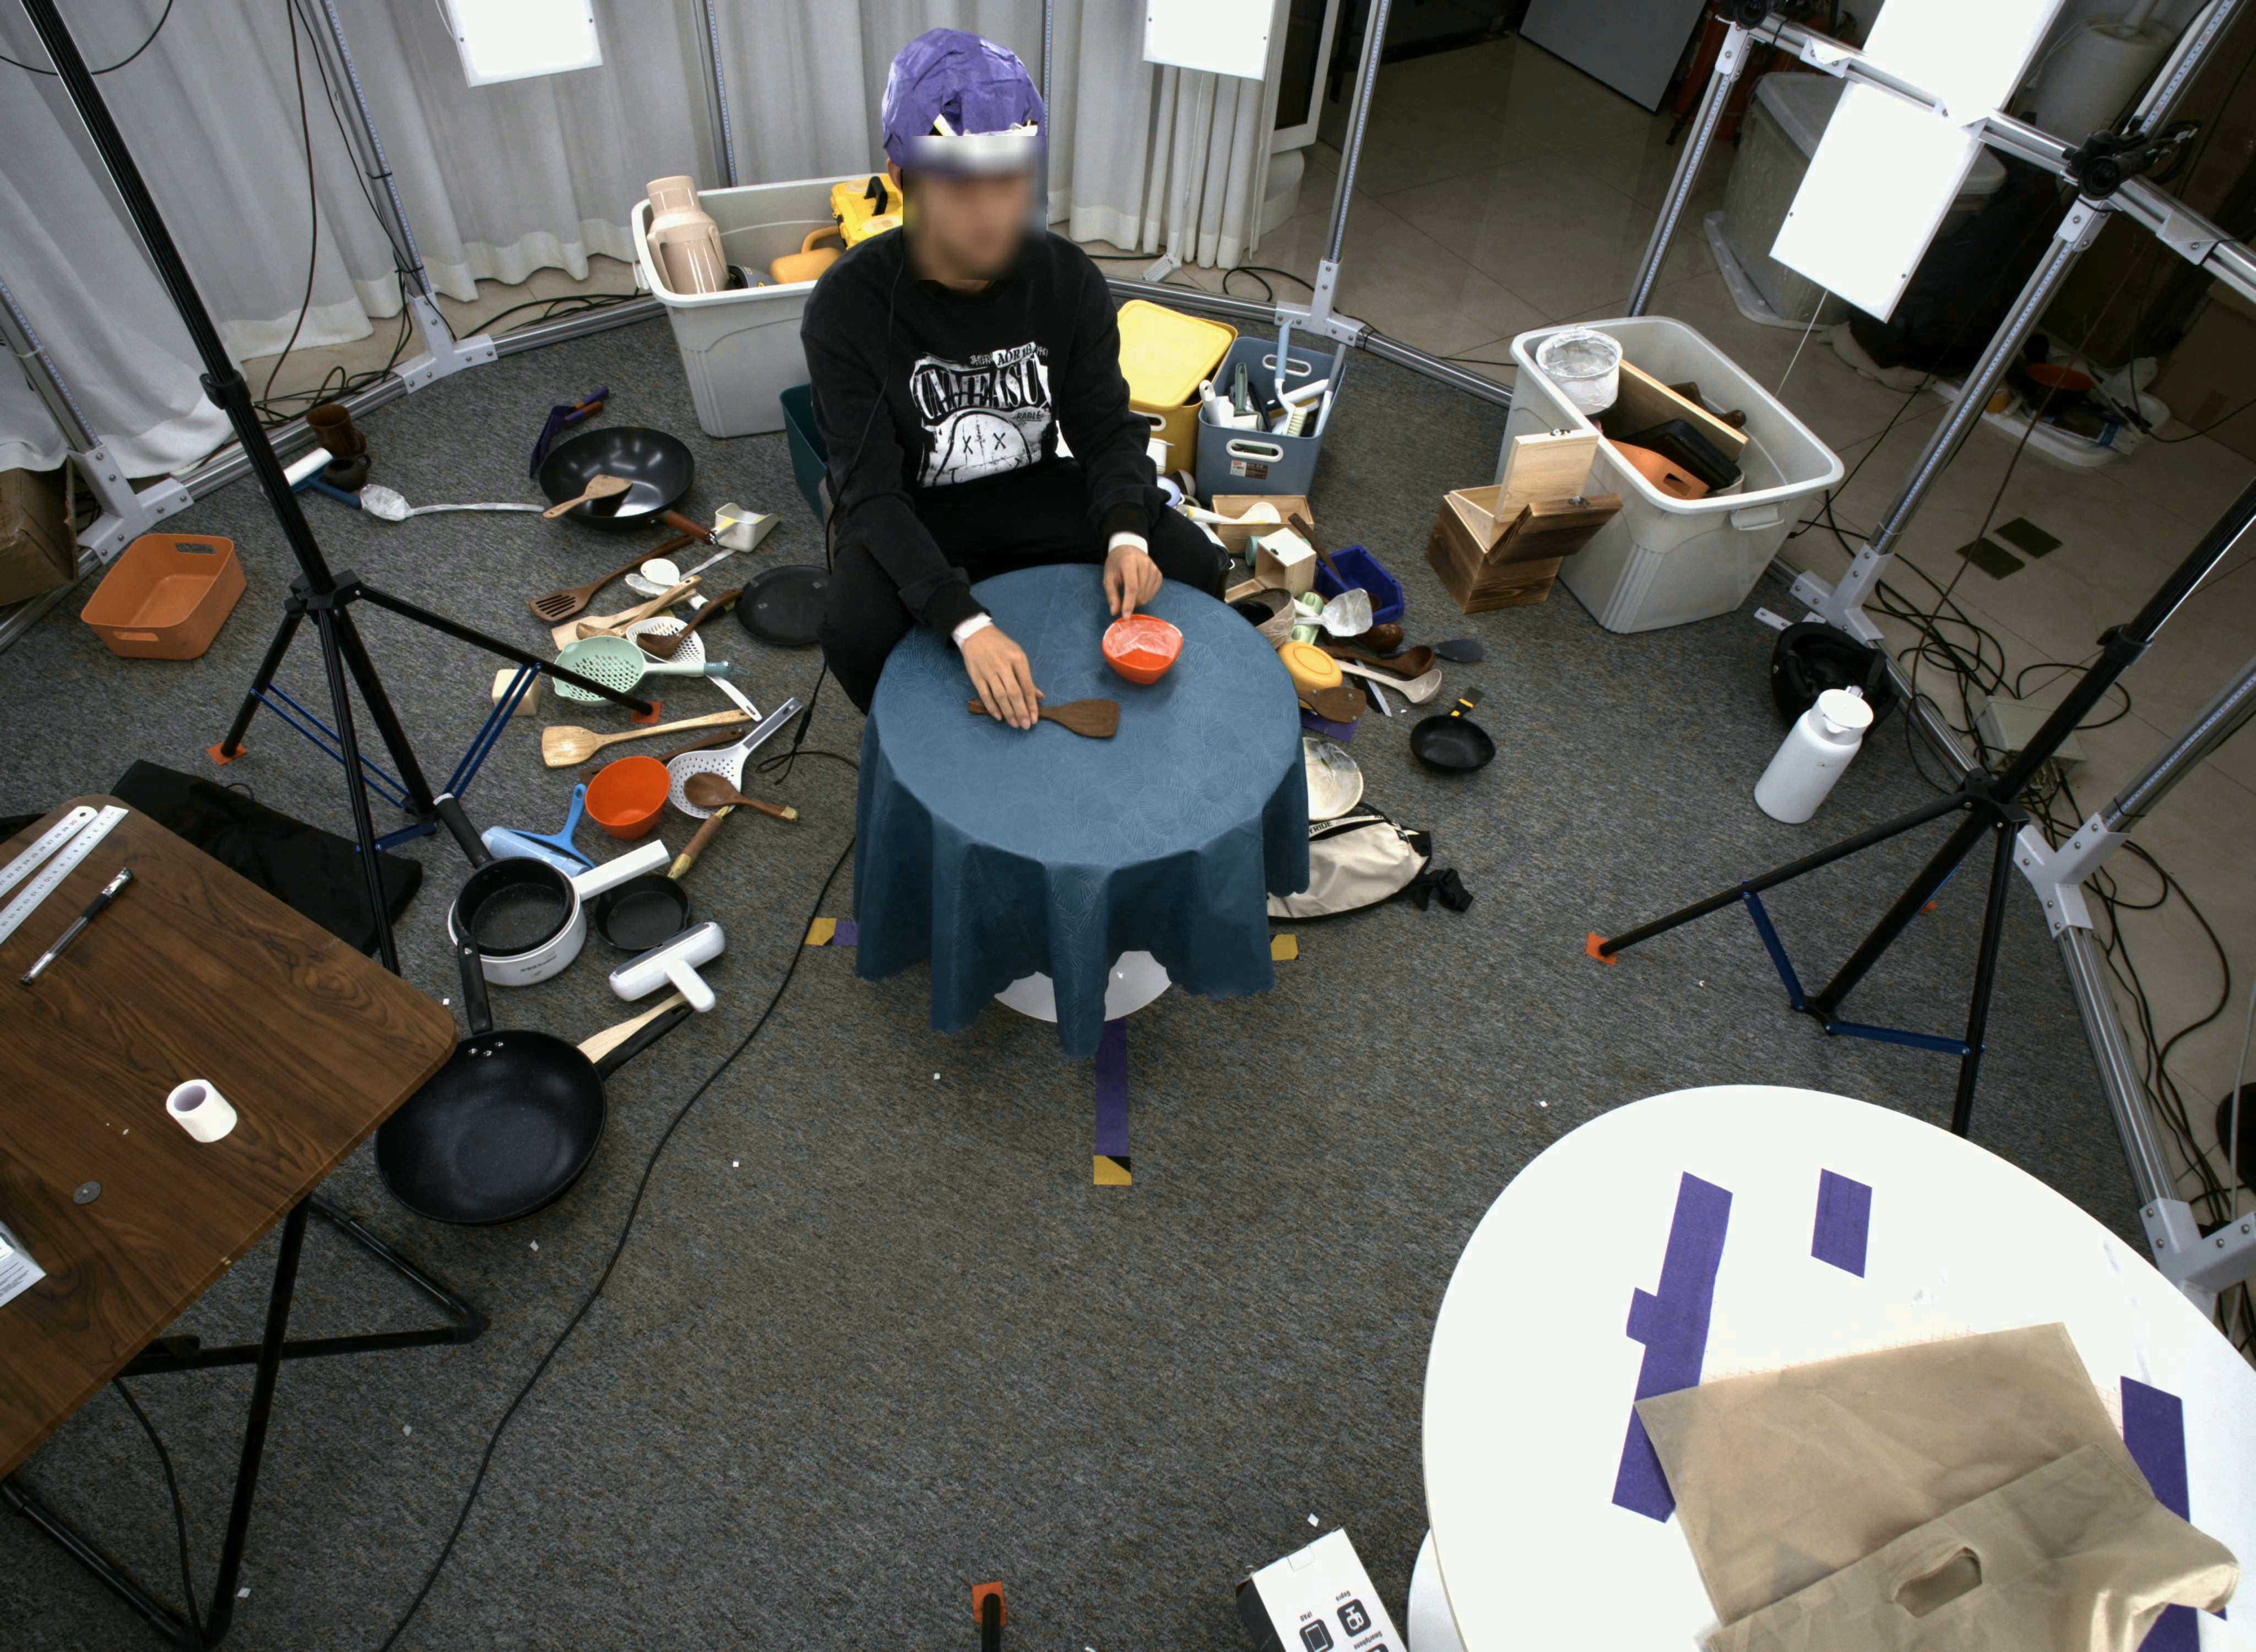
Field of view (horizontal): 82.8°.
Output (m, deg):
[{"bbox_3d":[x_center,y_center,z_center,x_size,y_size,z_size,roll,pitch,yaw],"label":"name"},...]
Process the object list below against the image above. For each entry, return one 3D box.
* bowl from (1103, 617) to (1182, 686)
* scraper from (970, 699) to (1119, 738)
[{"bbox_3d":[0.020,-0.248,1.870,0.119,0.050,0.122,1,50,-2],"label":"bowl"},{"bbox_3d":[-0.118,-0.159,1.810,0.211,0.010,0.077,6,48,2],"label":"scraper"}]
